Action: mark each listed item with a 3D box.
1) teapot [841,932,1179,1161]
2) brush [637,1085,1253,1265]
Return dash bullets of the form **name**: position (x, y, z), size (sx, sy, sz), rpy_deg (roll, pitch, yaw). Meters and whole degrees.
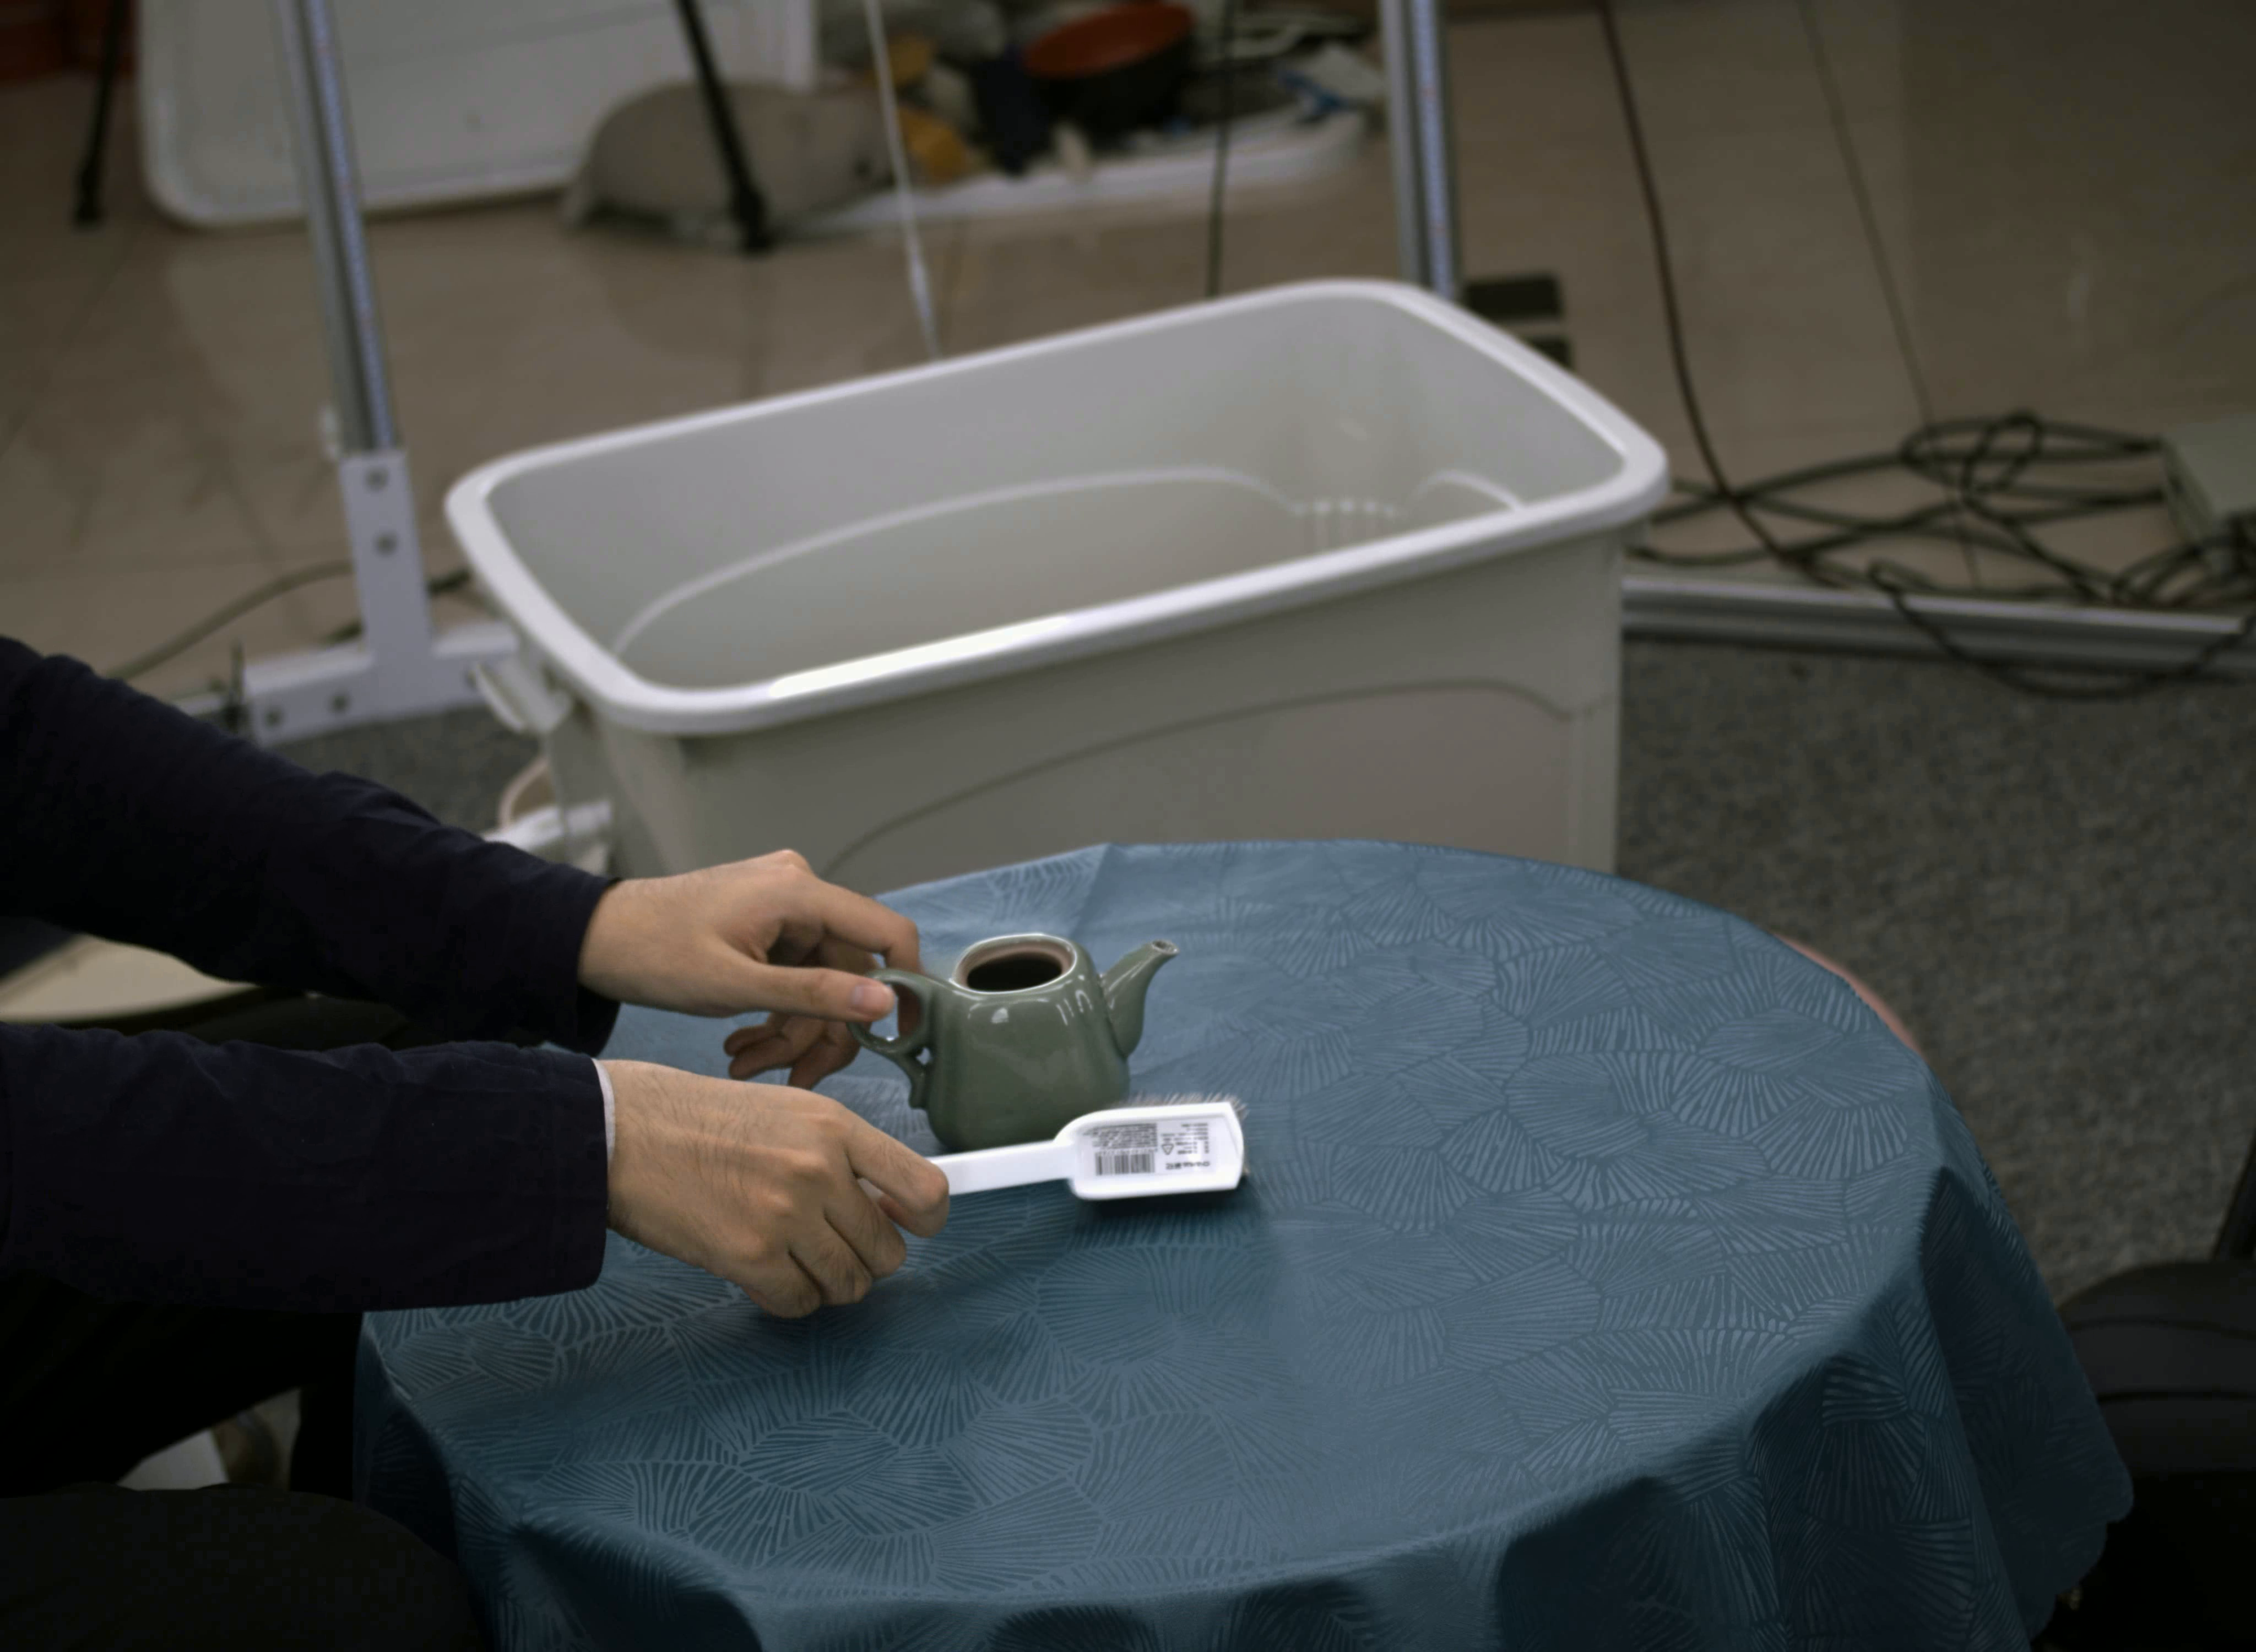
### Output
- **teapot**: position (-0.043, 0.083, 2.191), size (0.132, 0.076, 0.078), rpy_deg (-8, 25, -1)
- **brush**: position (-0.067, 0.129, 2.104), size (0.243, 0.035, 0.050), rpy_deg (-8, 13, -16)
